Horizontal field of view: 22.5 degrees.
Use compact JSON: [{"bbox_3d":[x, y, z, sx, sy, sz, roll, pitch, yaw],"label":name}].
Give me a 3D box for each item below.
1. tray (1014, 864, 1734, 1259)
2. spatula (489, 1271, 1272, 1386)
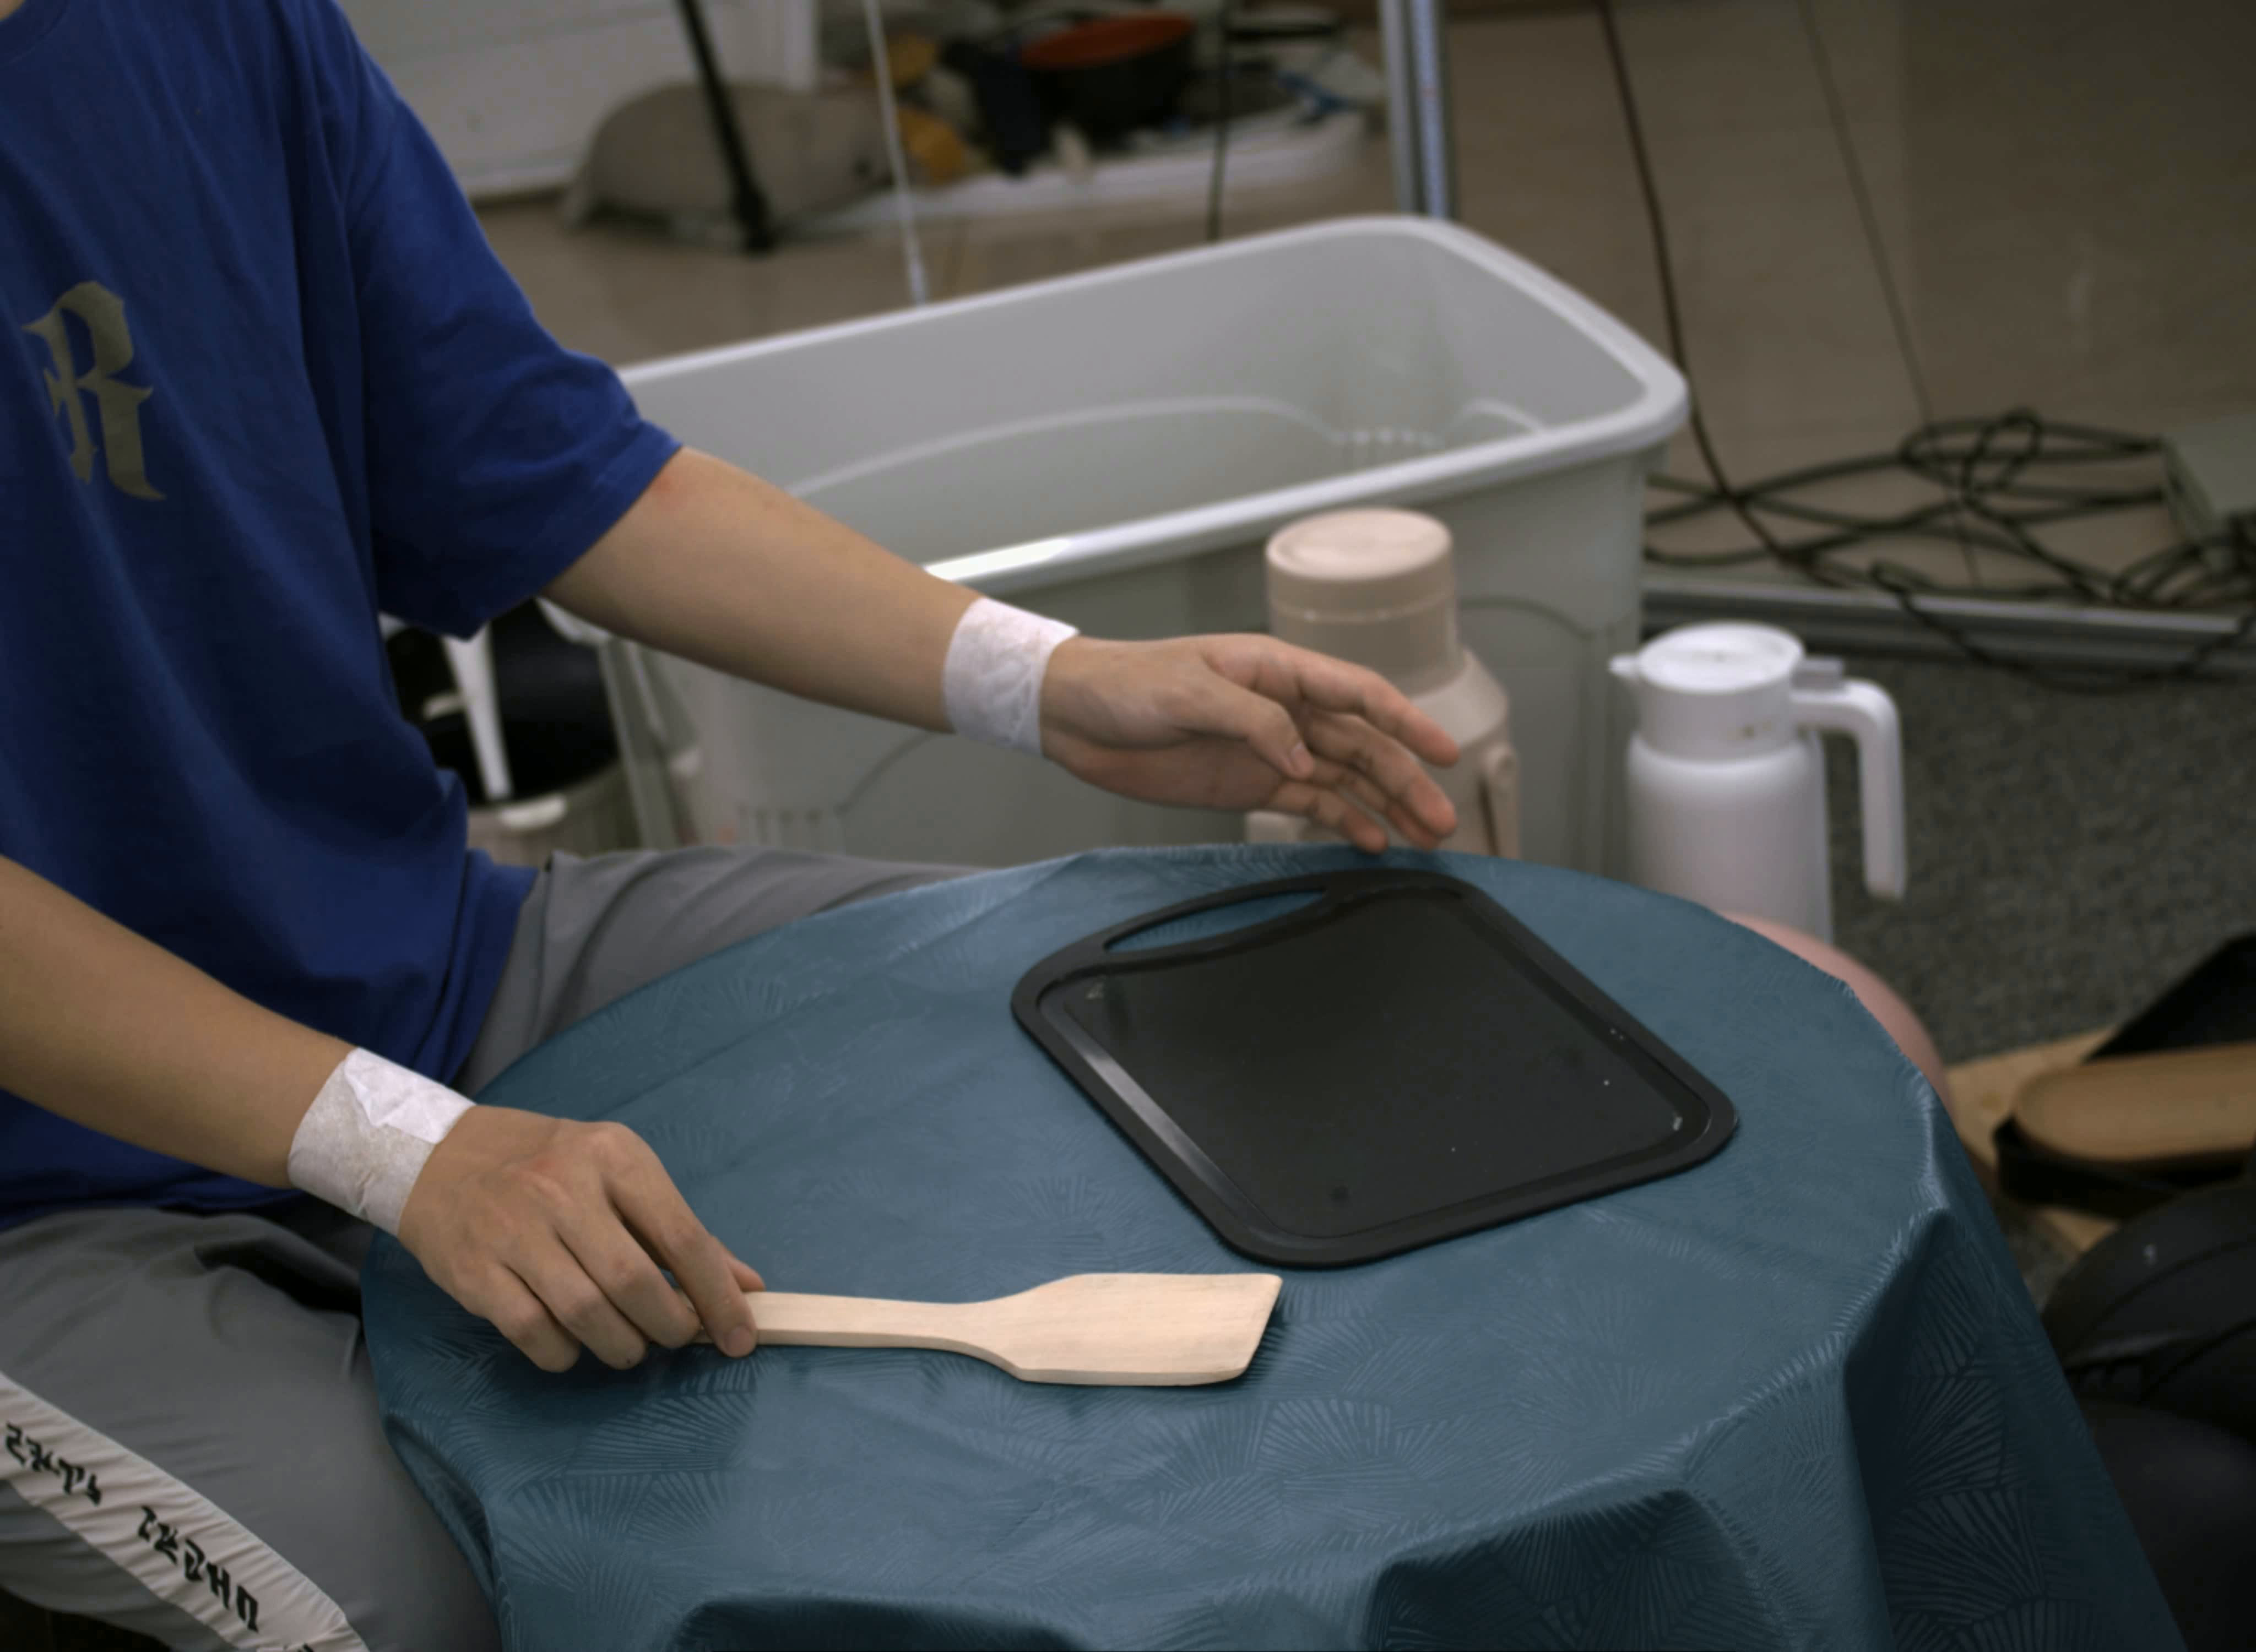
[{"bbox_3d":[0.087,0.084,2.232,0.210,0.010,0.321,-15,26,-17],"label":"tray"},{"bbox_3d":[-0.095,0.180,2.071,0.292,0.011,0.071,1,27,14],"label":"spatula"}]
